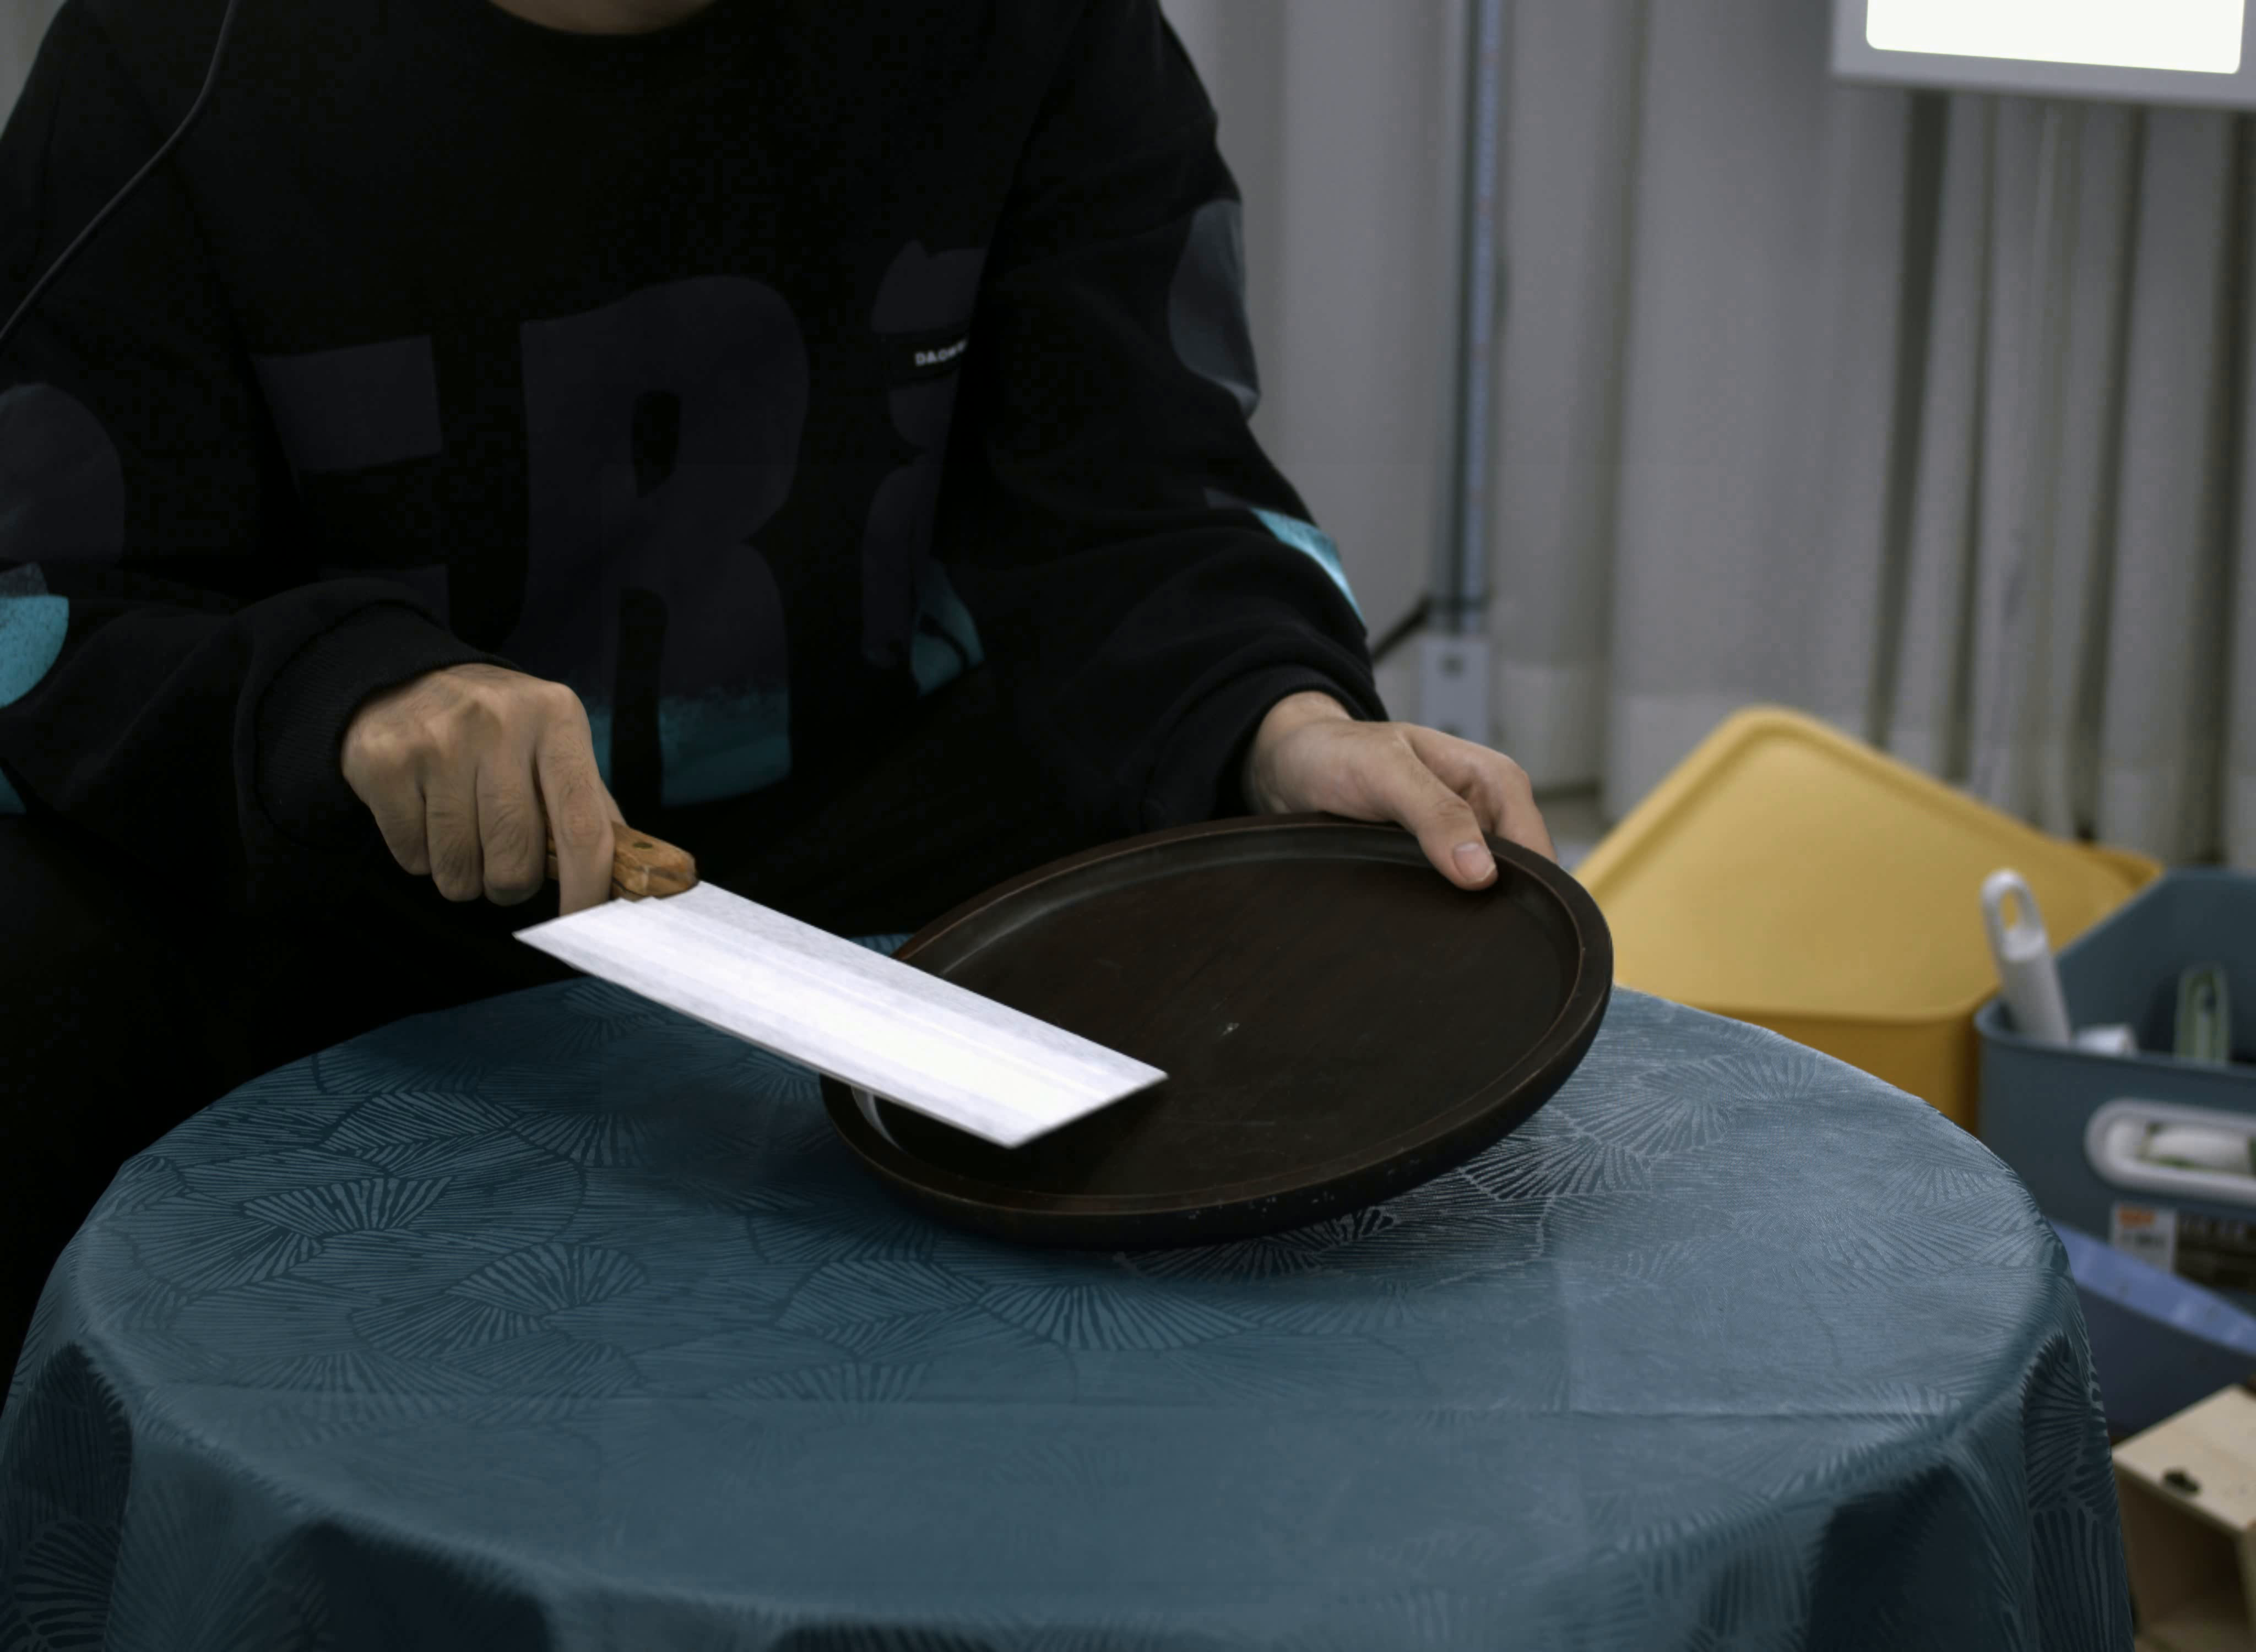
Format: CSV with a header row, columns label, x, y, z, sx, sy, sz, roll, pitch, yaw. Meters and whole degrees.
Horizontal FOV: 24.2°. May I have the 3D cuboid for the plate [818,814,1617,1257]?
label,x,y,z,sx,sy,sz,roll,pitch,yaw
plate,0.028,0.063,1.650,0.253,0.029,0.253,-9,28,5

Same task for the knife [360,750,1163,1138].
label,x,y,z,sx,sy,sz,roll,pitch,yaw
knife,-0.134,0.038,1.655,0.302,0.021,0.093,21,25,26
